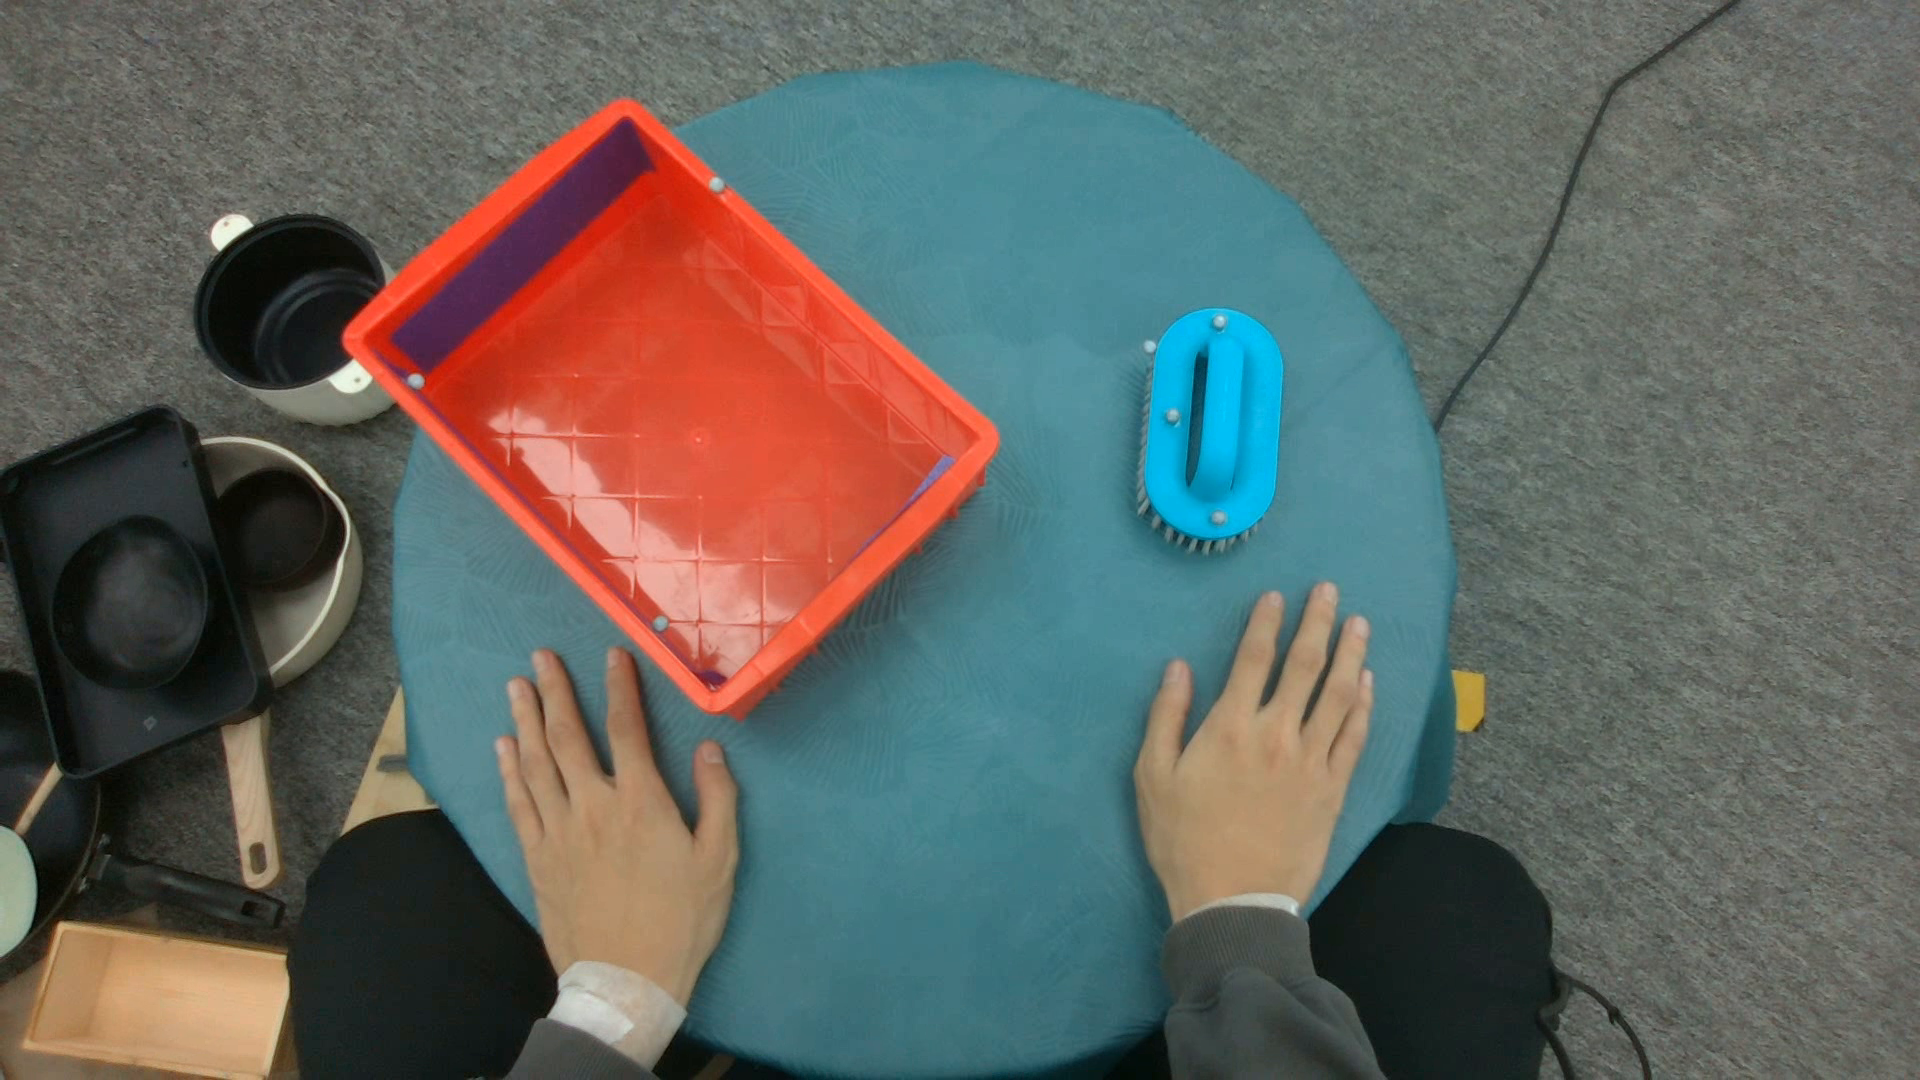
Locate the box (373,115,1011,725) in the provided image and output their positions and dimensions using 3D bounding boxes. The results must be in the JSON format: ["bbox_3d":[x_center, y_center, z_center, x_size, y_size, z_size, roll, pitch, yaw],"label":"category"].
[{"bbox_3d":[-0.143,-0.064,0.771,0.207,0.096,0.304,-44,77,-10],"label":"box"}]

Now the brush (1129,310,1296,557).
[{"bbox_3d":[0.145,-0.064,0.773,0.084,0.063,0.142,10,75,0],"label":"brush"}]
